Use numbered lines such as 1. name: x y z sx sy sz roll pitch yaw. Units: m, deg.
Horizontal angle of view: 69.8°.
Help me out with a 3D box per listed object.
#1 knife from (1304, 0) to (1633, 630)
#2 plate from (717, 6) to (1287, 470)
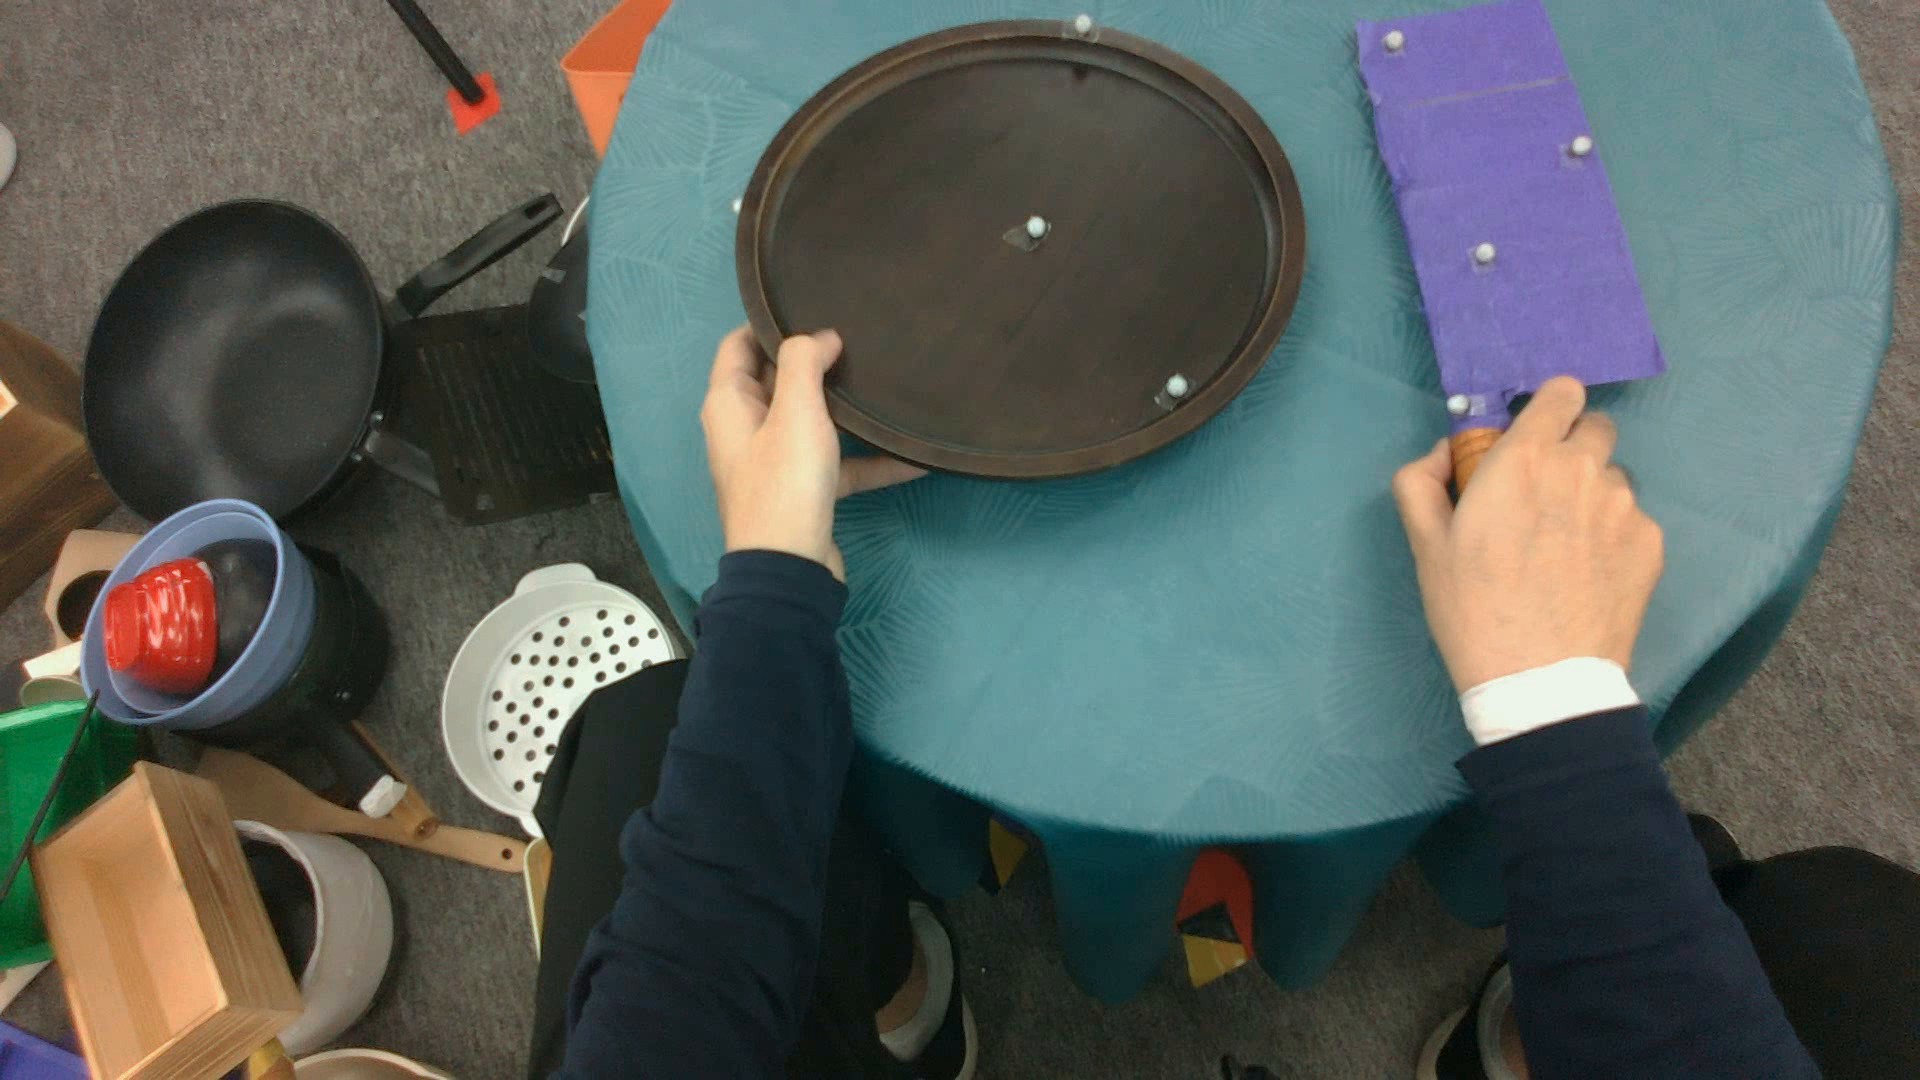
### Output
1. knife: 0.233 -0.118 0.597 0.104 0.032 0.316 -9 69 4
2. plate: 0.019 -0.141 0.620 0.255 0.029 0.256 0 63 0
